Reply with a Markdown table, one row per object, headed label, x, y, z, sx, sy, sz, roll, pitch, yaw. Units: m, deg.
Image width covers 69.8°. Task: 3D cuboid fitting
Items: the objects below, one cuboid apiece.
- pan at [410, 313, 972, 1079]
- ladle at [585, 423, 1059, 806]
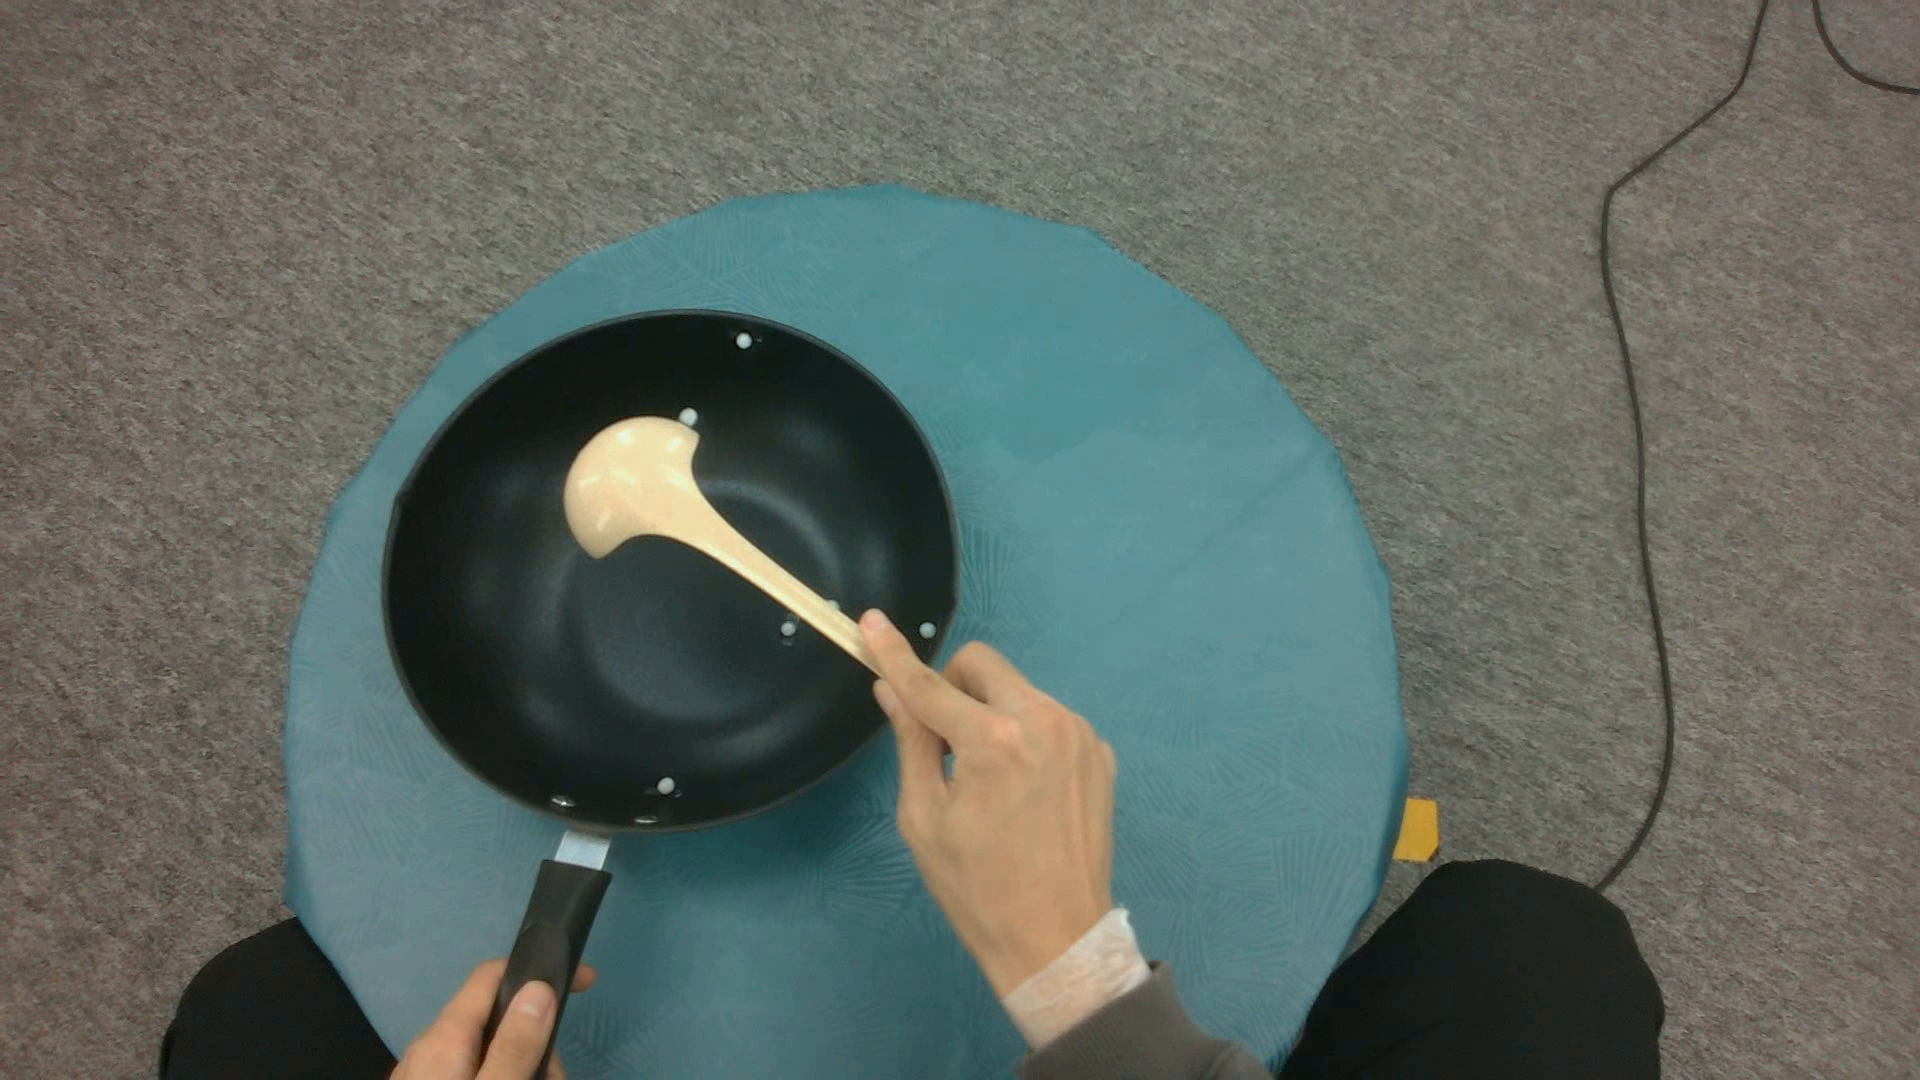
| label | x | y | z | sx | sy | sz | roll | pitch | yaw |
| --- | --- | --- | --- | --- | --- | --- | --- | --- | --- |
| pan | -0.156 | 0.103 | 0.698 | 0.288 | 0.086 | 0.465 | 12 | 69 | 4 |
| ladle | -0.062 | 0.040 | 0.631 | 0.254 | 0.072 | 0.072 | 38 | 78 | 4 |
